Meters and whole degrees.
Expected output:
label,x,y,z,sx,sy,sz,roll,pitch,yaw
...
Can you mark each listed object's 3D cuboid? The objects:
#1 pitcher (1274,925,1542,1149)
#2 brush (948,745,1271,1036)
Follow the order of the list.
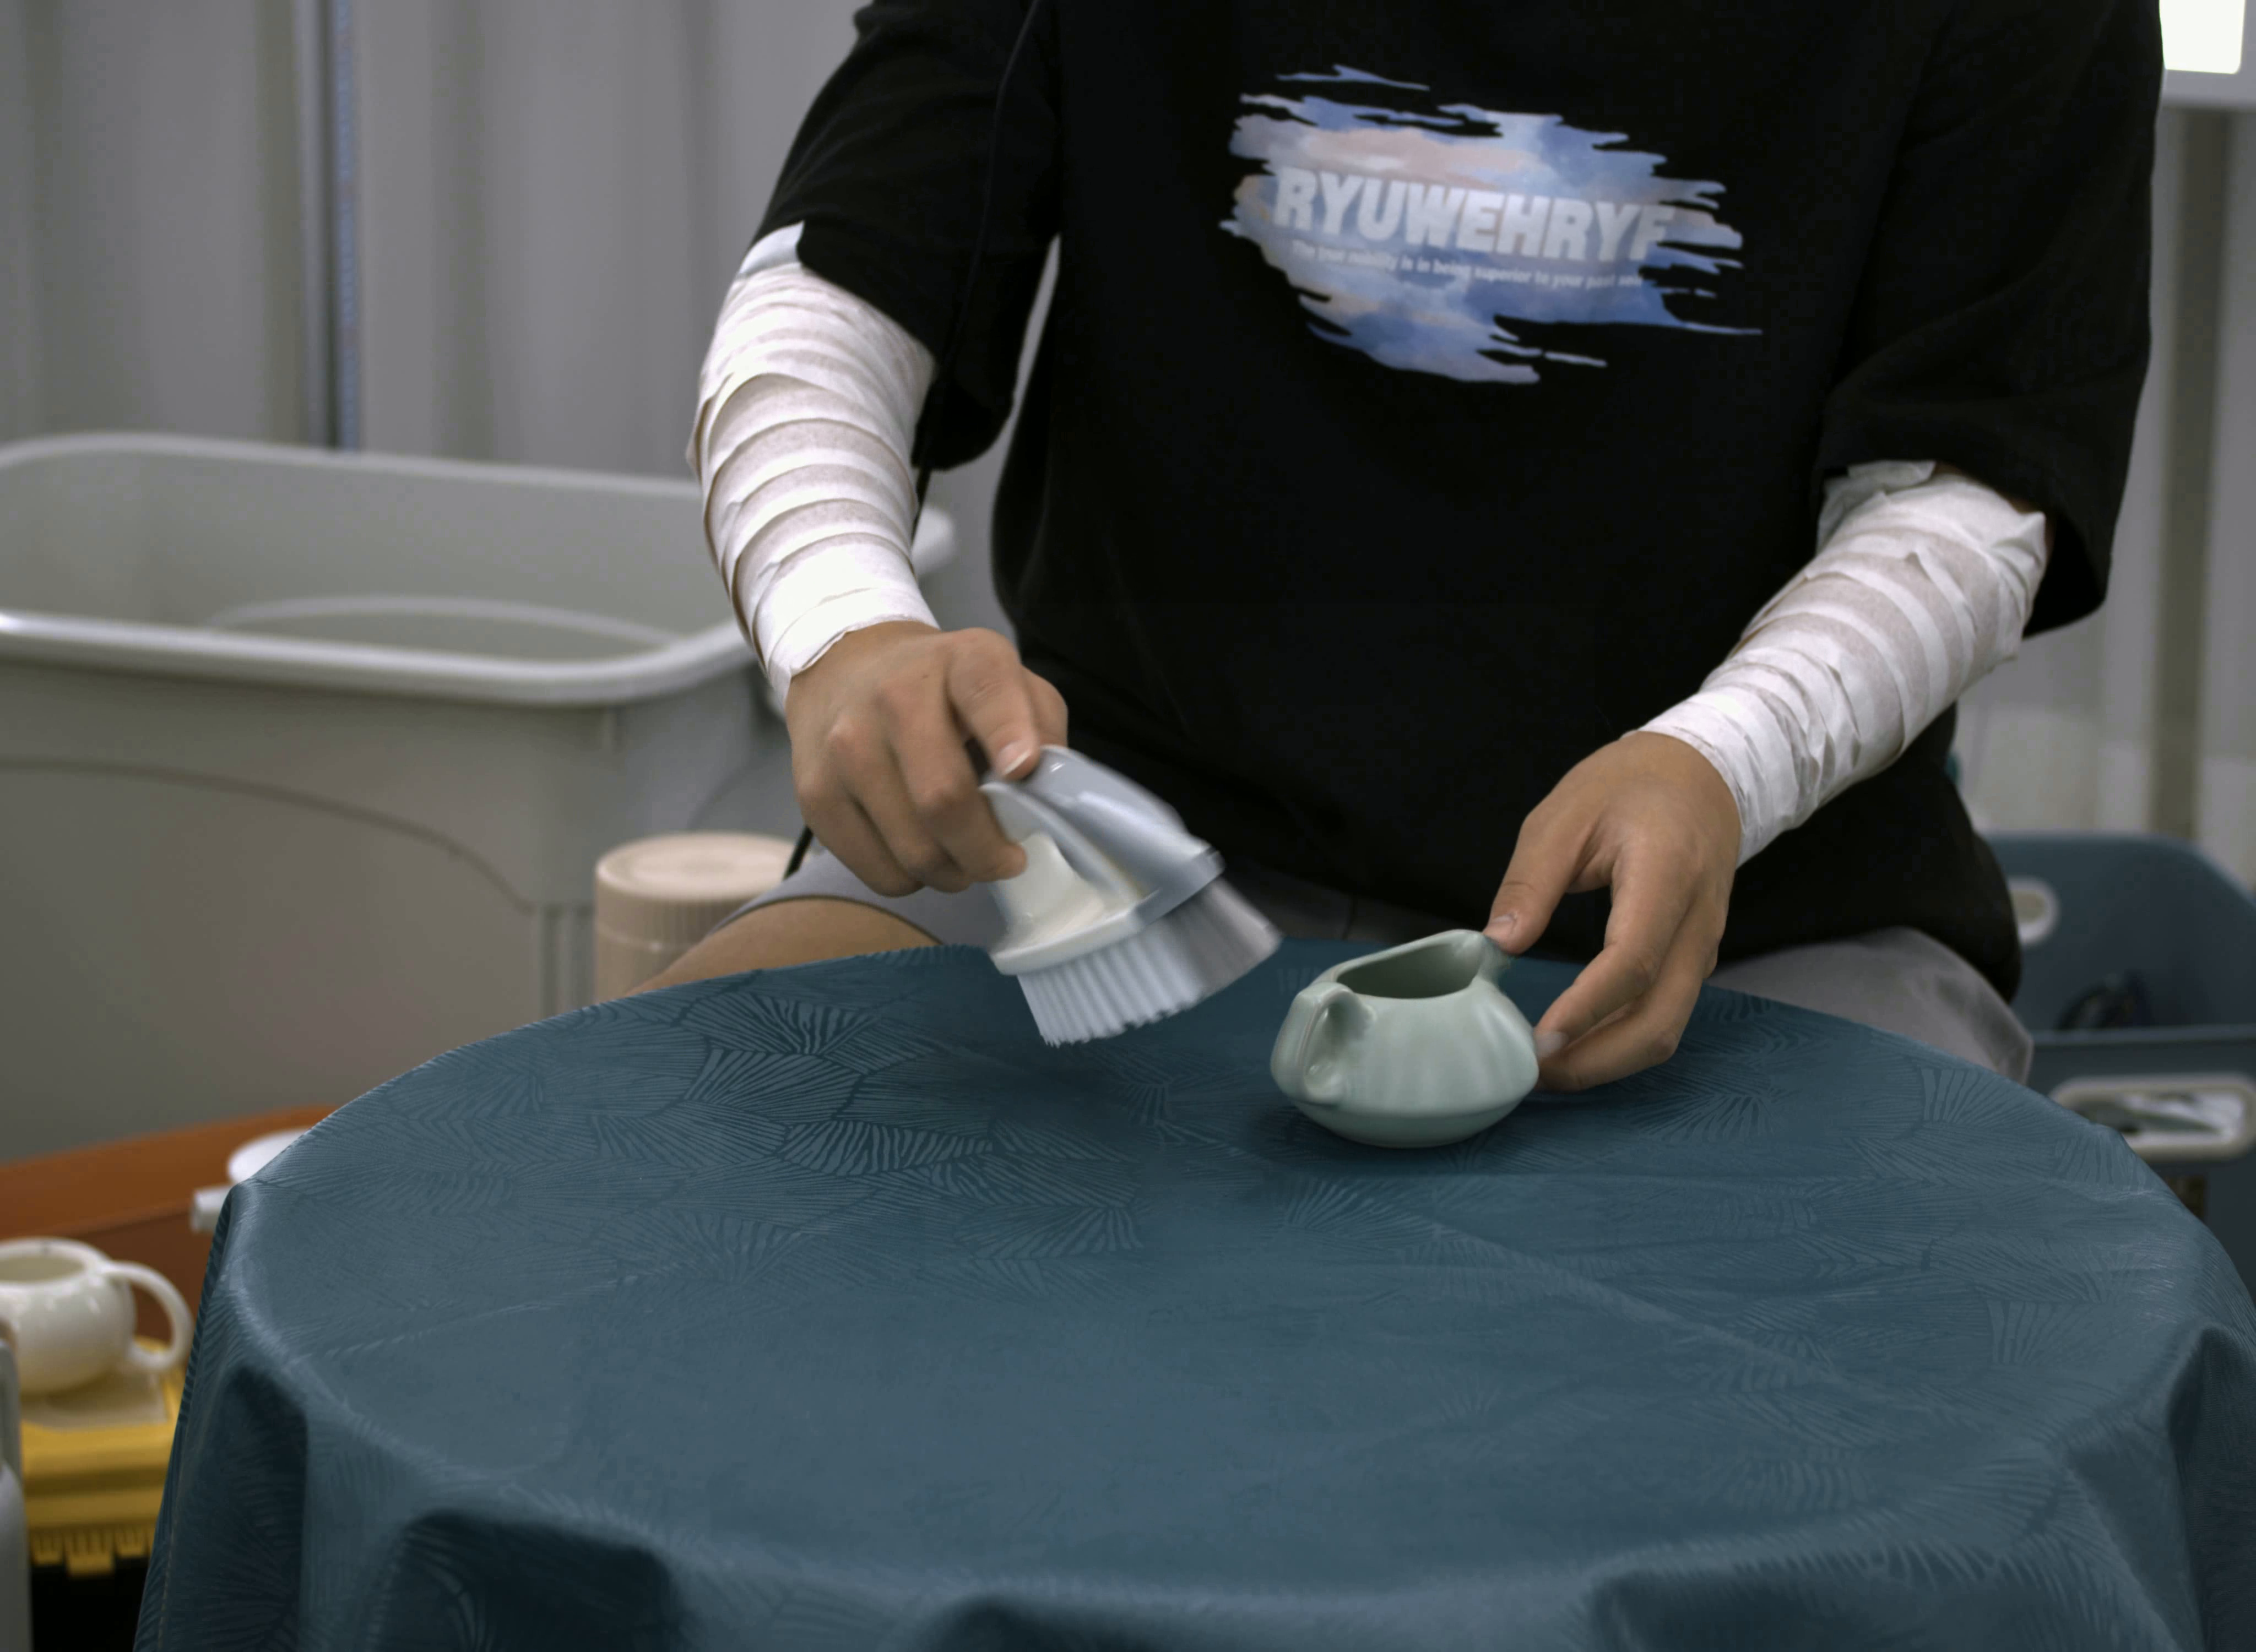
label,x,y,z,sx,sy,sz,roll,pitch,yaw
pitcher,0.083,0.071,1.671,0.085,0.061,0.108,10,20,33
brush,-0.010,0.013,1.654,0.061,0.095,0.174,-42,10,-13
